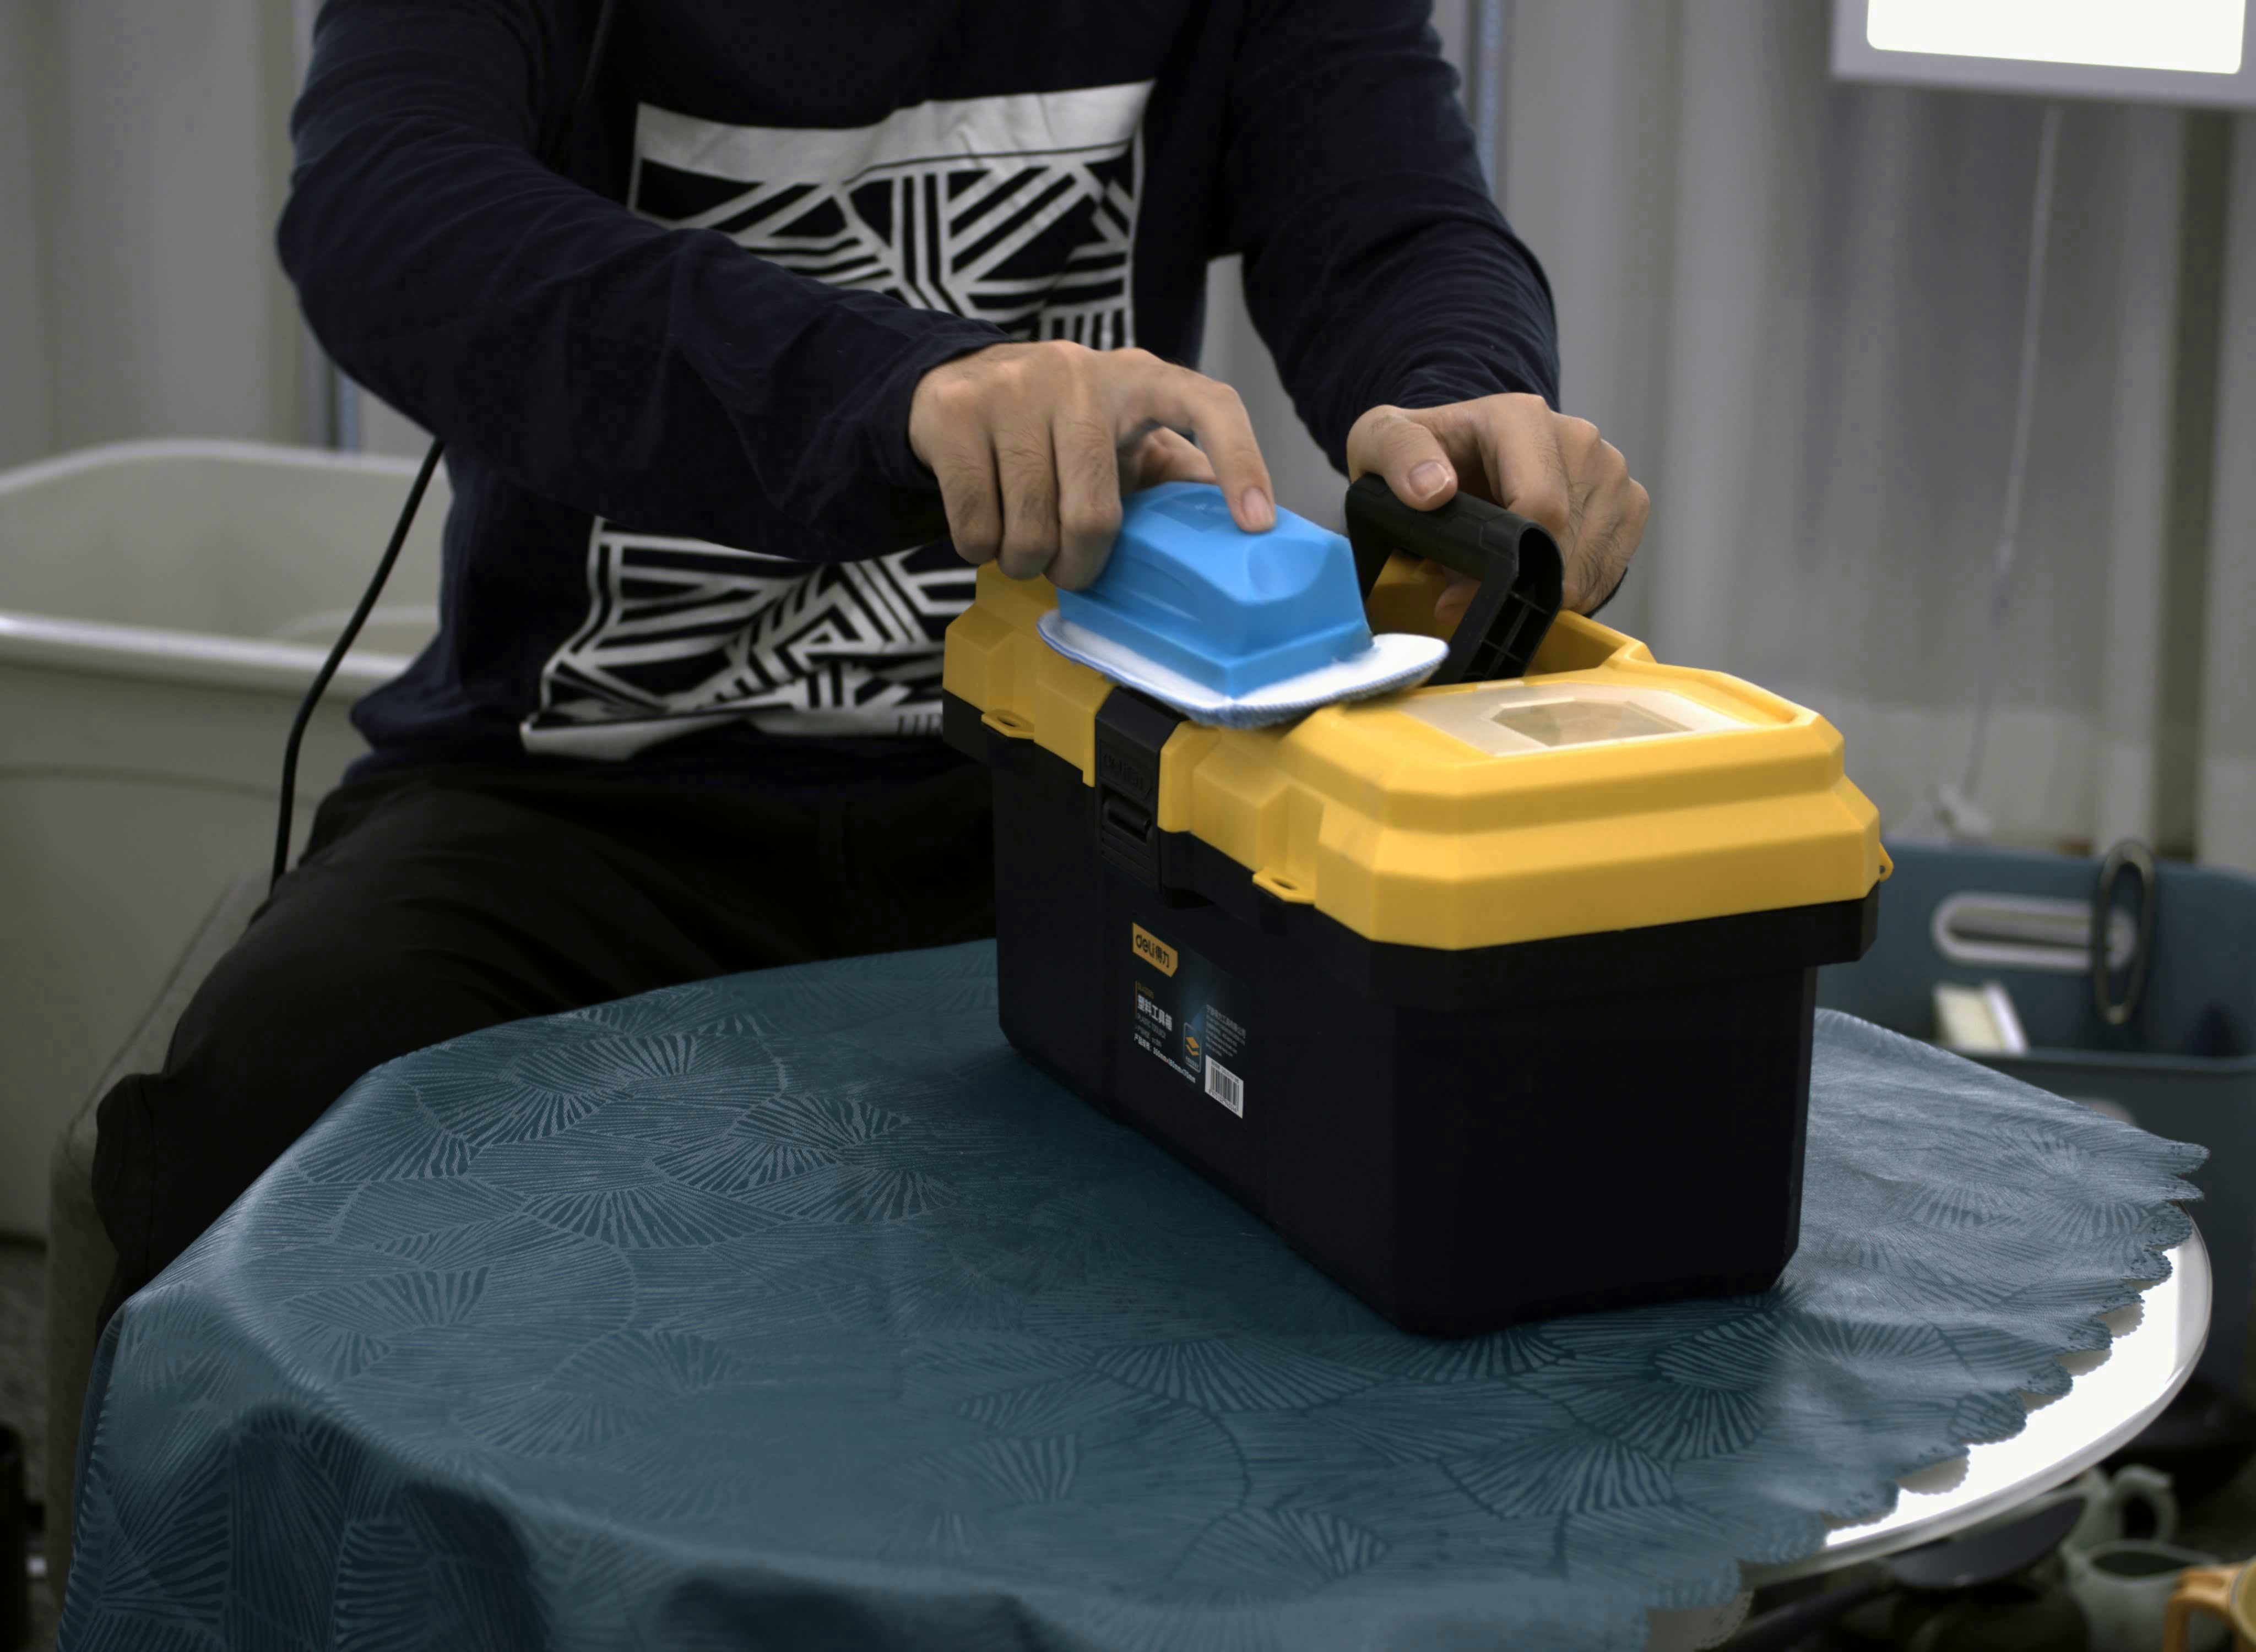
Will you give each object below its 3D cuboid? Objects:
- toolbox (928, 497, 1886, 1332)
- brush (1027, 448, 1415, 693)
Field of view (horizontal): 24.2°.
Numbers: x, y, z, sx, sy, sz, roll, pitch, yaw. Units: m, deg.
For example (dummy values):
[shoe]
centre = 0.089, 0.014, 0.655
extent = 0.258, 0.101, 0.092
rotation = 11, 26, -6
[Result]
[toolbox]
centre = 0.077, 0.019, 1.633
extent = 0.182, 0.174, 0.347
rotation = -7, 18, -24
[brush]
centre = 0.026, -0.078, 1.577
extent = 0.084, 0.056, 0.142
rotation = -14, 20, -18
